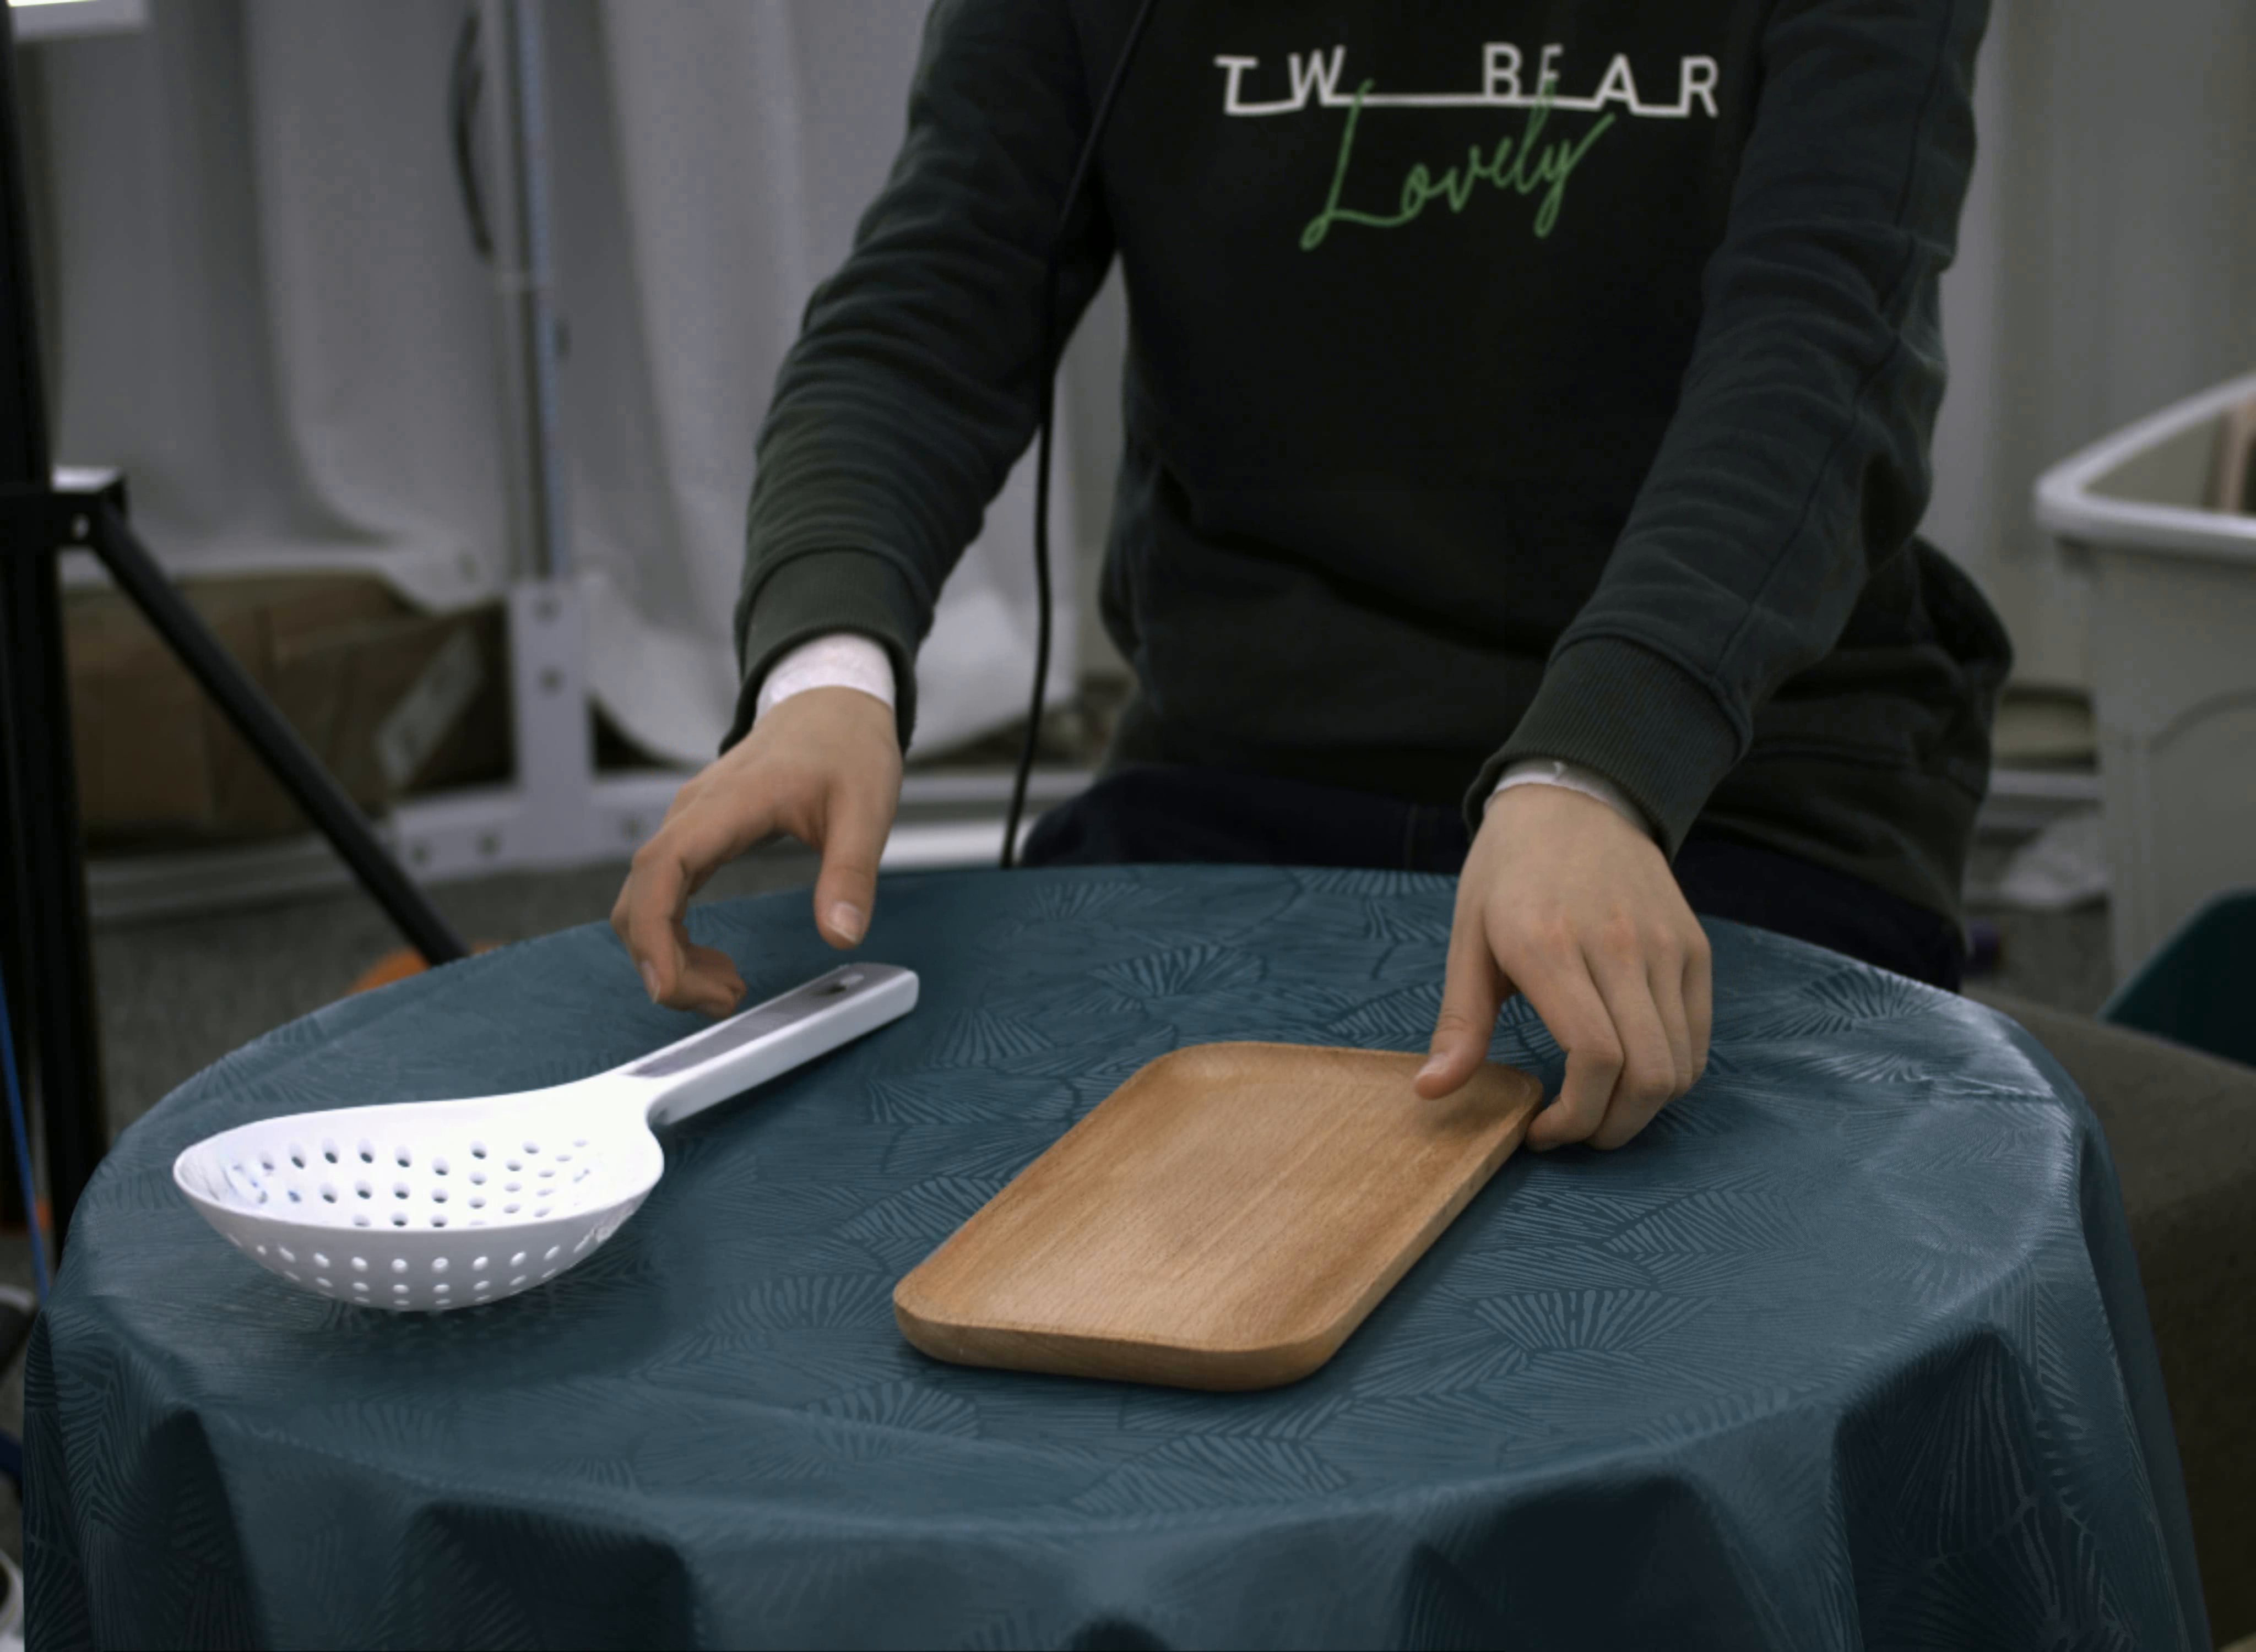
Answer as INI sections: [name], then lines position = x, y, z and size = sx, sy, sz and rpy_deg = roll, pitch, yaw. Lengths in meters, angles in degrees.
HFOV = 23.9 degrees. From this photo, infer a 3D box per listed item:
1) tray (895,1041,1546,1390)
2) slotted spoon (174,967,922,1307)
[tray]
position = 0.031, 0.109, 1.520
size = 0.132, 0.023, 0.247
rpy_deg = 6, 17, 21
[slotted spoon]
position = -0.153, 0.083, 1.589
size = 0.138, 0.046, 0.344
rpy_deg = 7, 18, 25
